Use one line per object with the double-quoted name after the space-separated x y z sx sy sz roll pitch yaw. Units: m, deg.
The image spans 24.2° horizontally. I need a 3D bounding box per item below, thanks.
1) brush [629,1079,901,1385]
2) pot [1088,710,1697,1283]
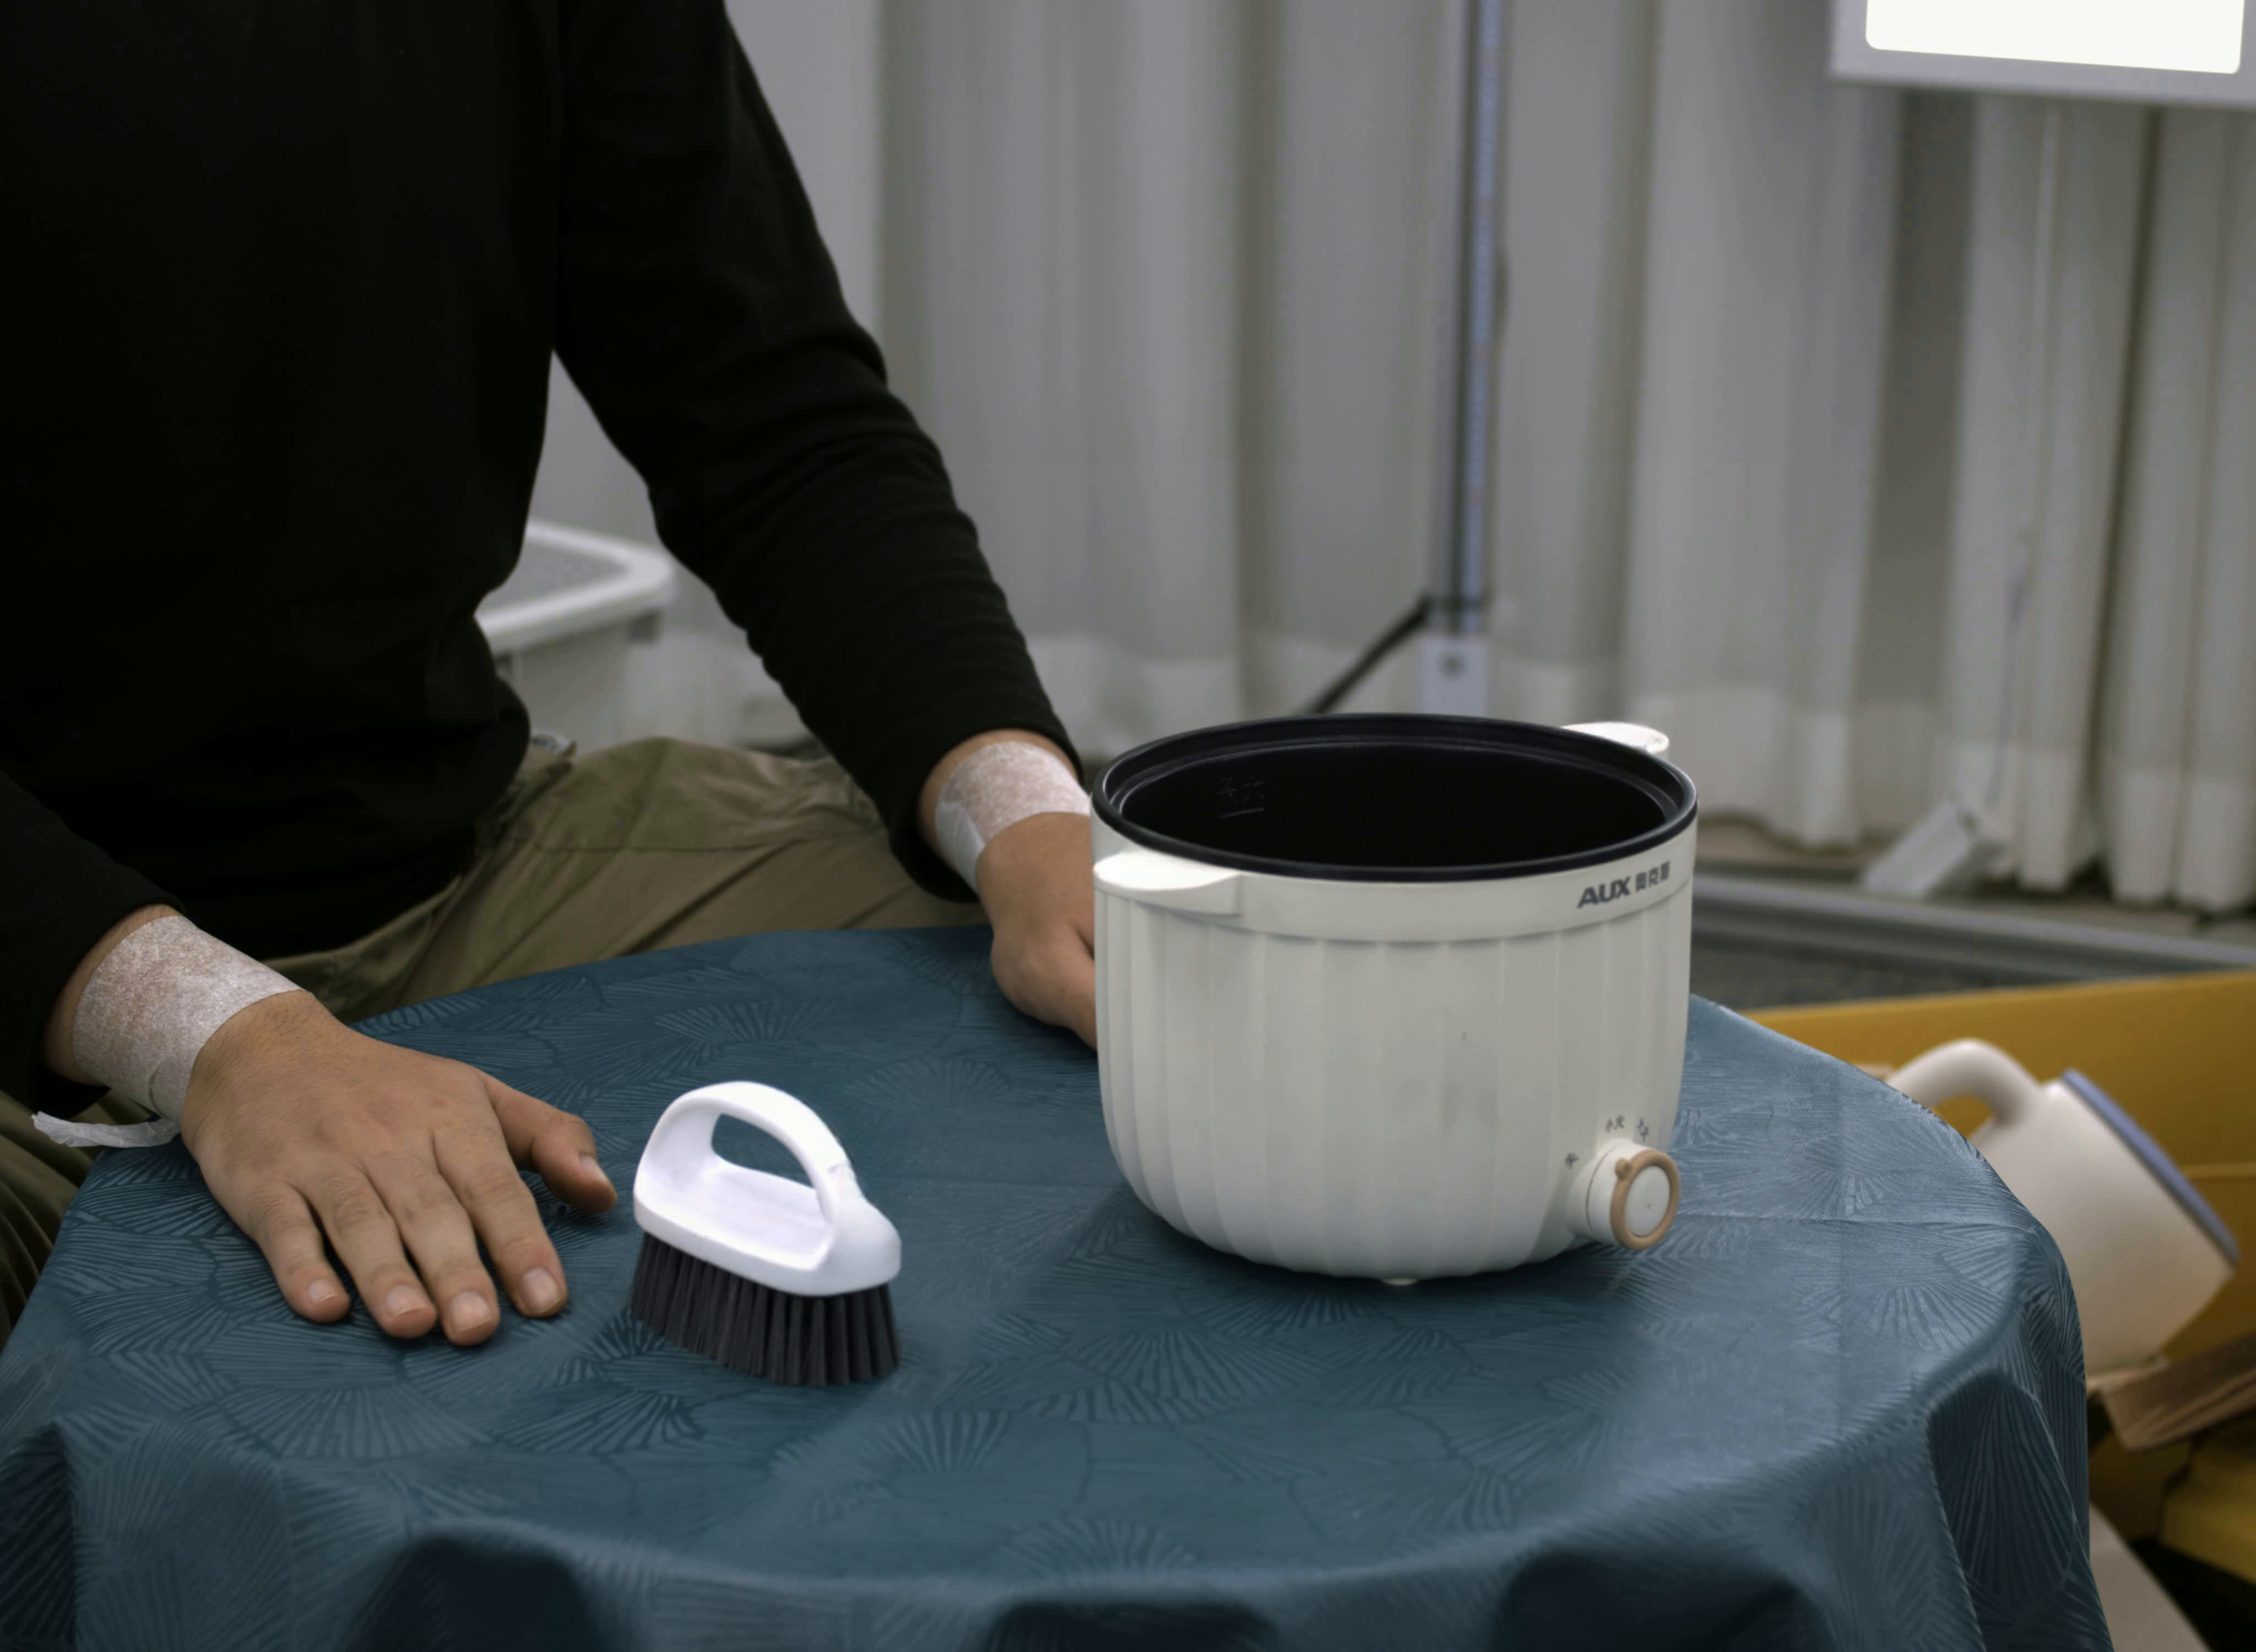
-0.104 0.110 1.490 0.050 0.073 0.098 -12 20 -38 "brush"
0.083 0.052 1.580 0.188 0.144 0.241 11 20 41 "pot"
